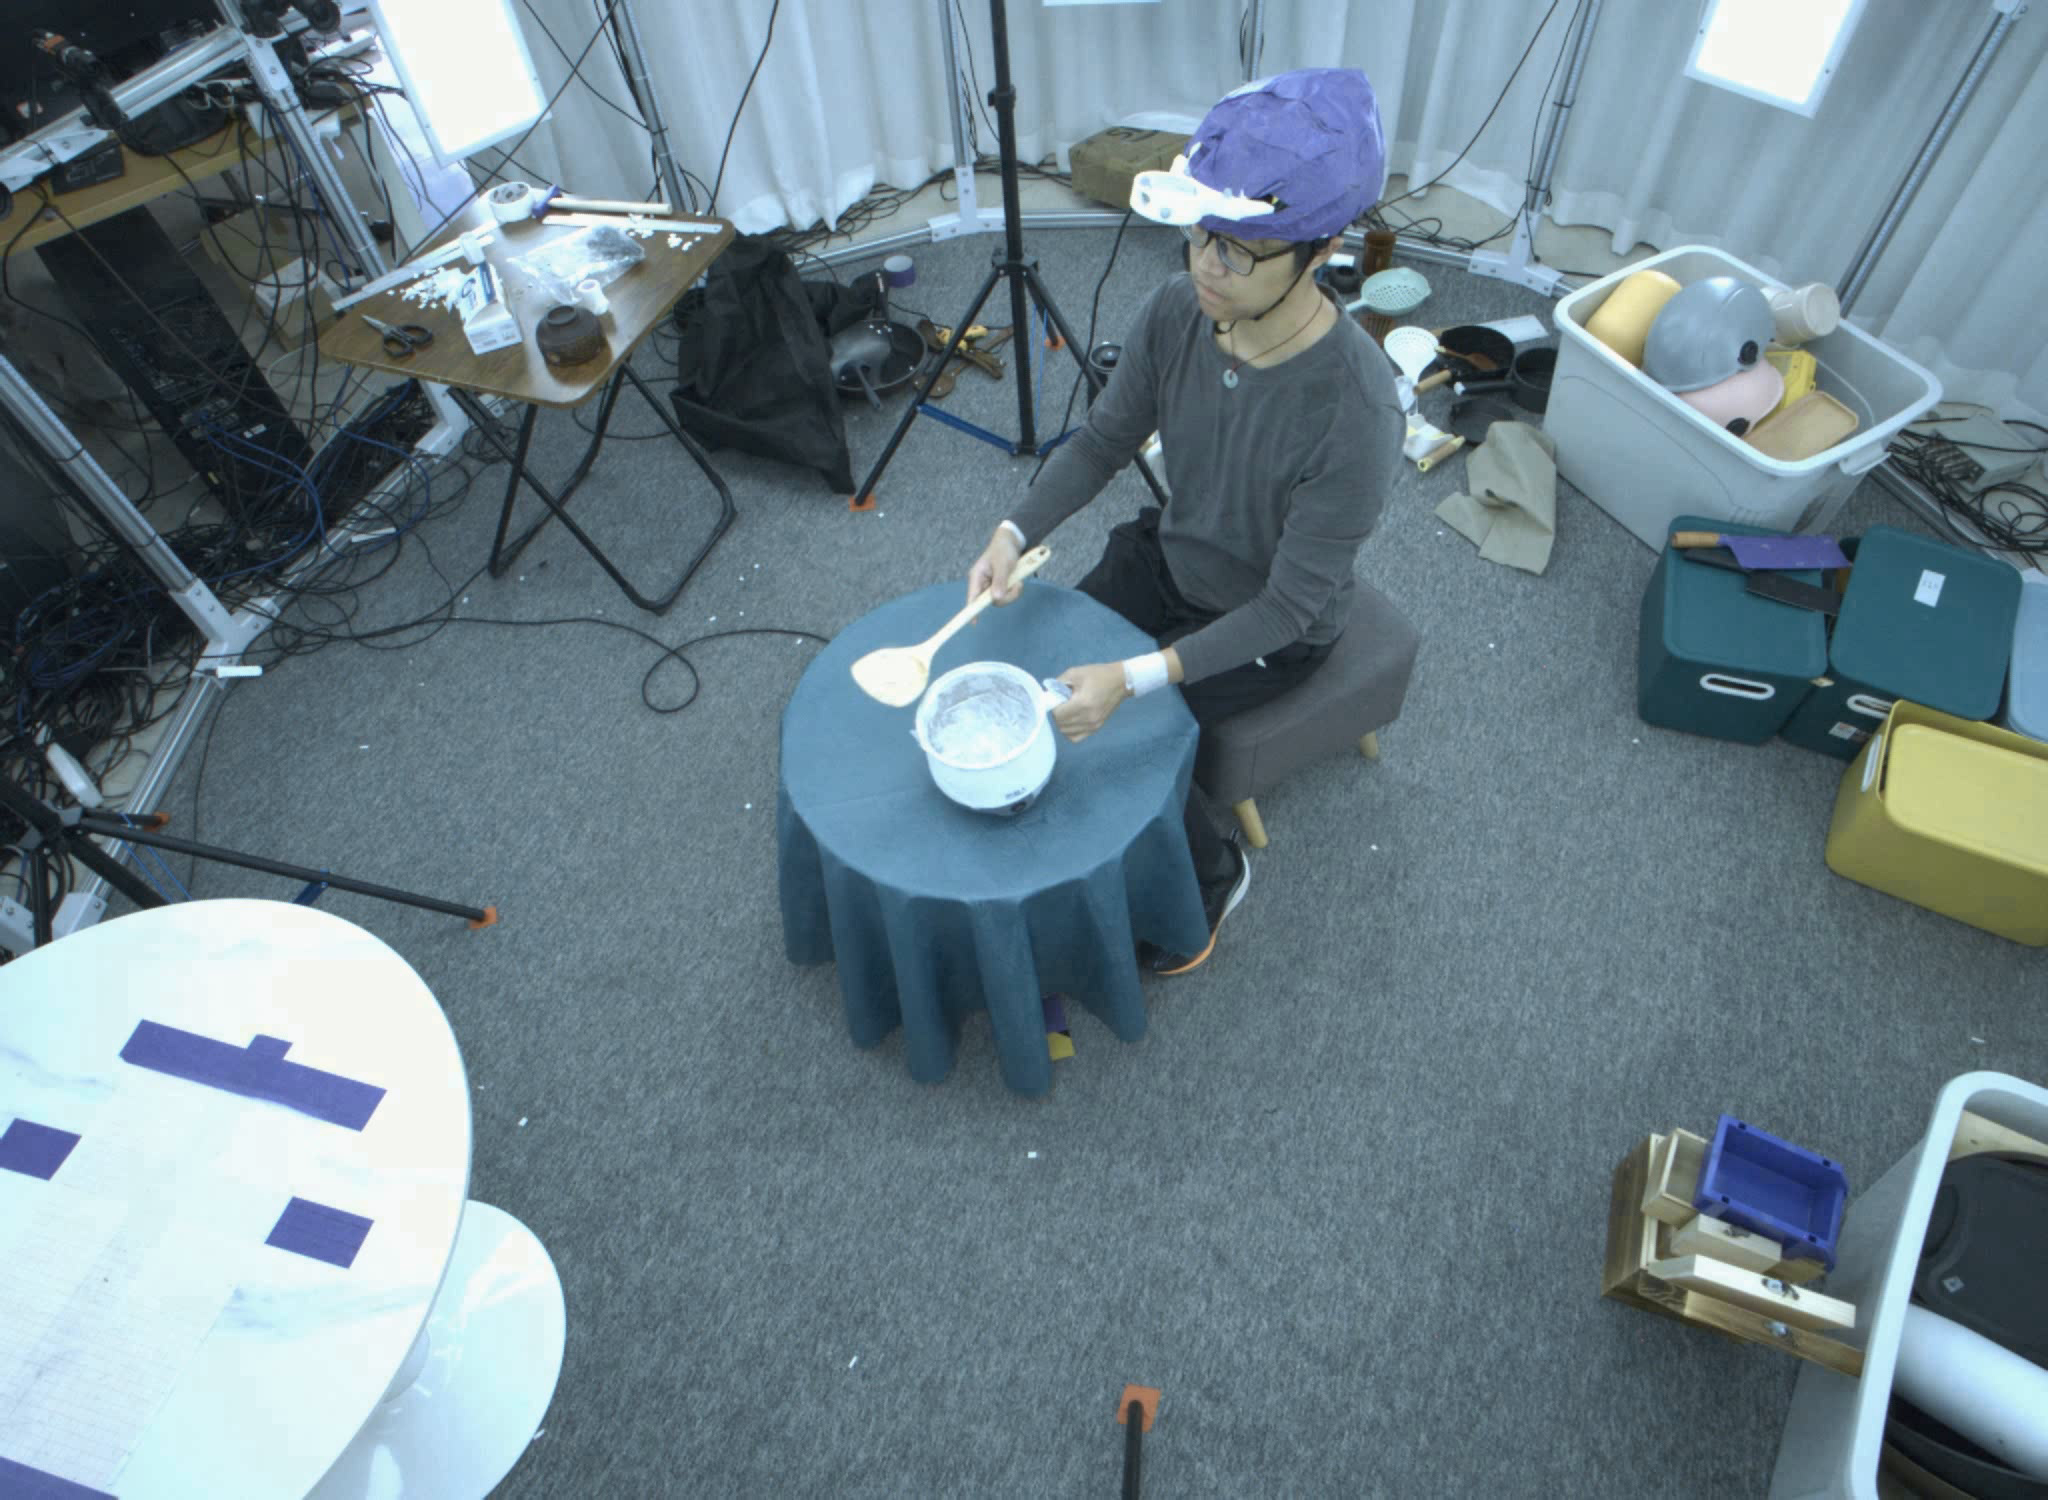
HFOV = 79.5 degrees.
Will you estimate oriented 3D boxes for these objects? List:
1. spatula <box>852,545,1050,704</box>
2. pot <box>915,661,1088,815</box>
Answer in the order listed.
[{"bbox_3d":[-0.087,-0.192,1.728,0.095,0.018,0.393,41,57,7],"label":"spatula"},{"bbox_3d":[-0.024,-0.026,1.695,0.235,0.138,0.175,-25,57,-9],"label":"pot"}]
